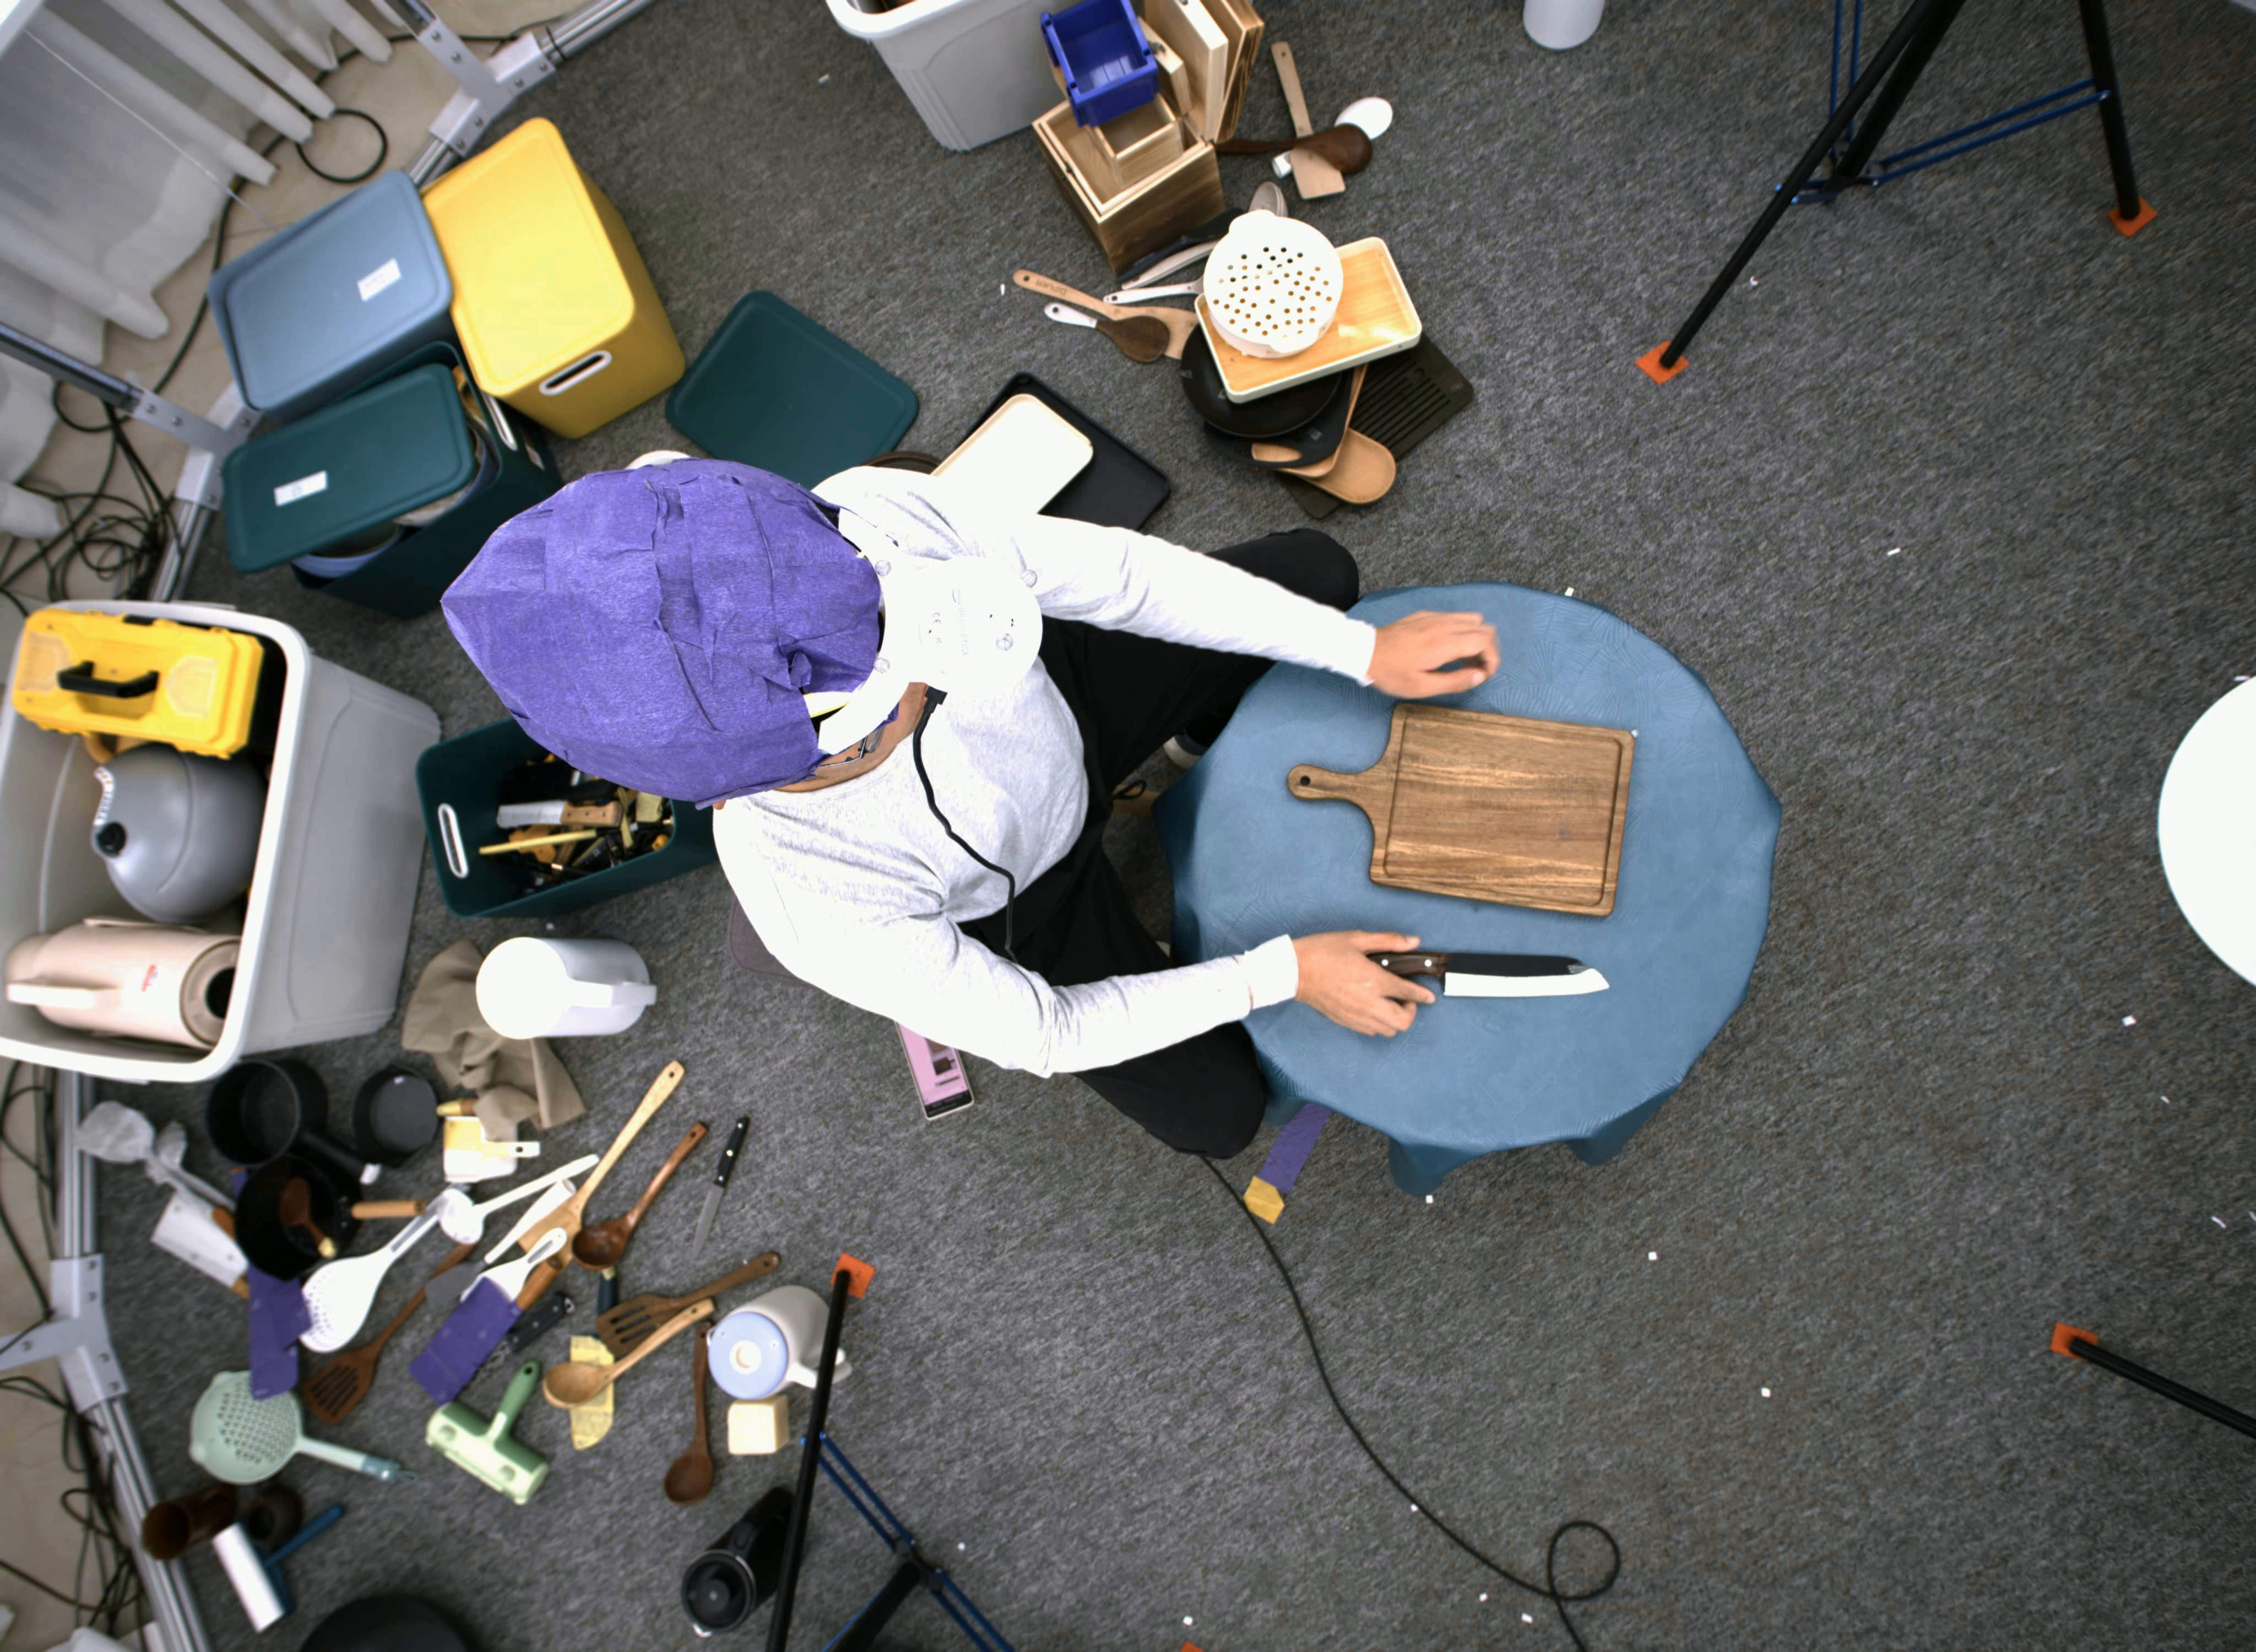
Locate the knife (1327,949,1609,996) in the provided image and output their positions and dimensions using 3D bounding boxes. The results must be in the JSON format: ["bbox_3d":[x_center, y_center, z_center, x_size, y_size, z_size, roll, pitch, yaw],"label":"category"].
[{"bbox_3d":[0.352,0.150,1.433,0.290,0.020,0.050,3,89,9],"label":"knife"}]

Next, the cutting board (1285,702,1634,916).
[{"bbox_3d":[0.340,-0.028,1.442,0.353,0.023,0.200,8,88,11],"label":"cutting board"}]
